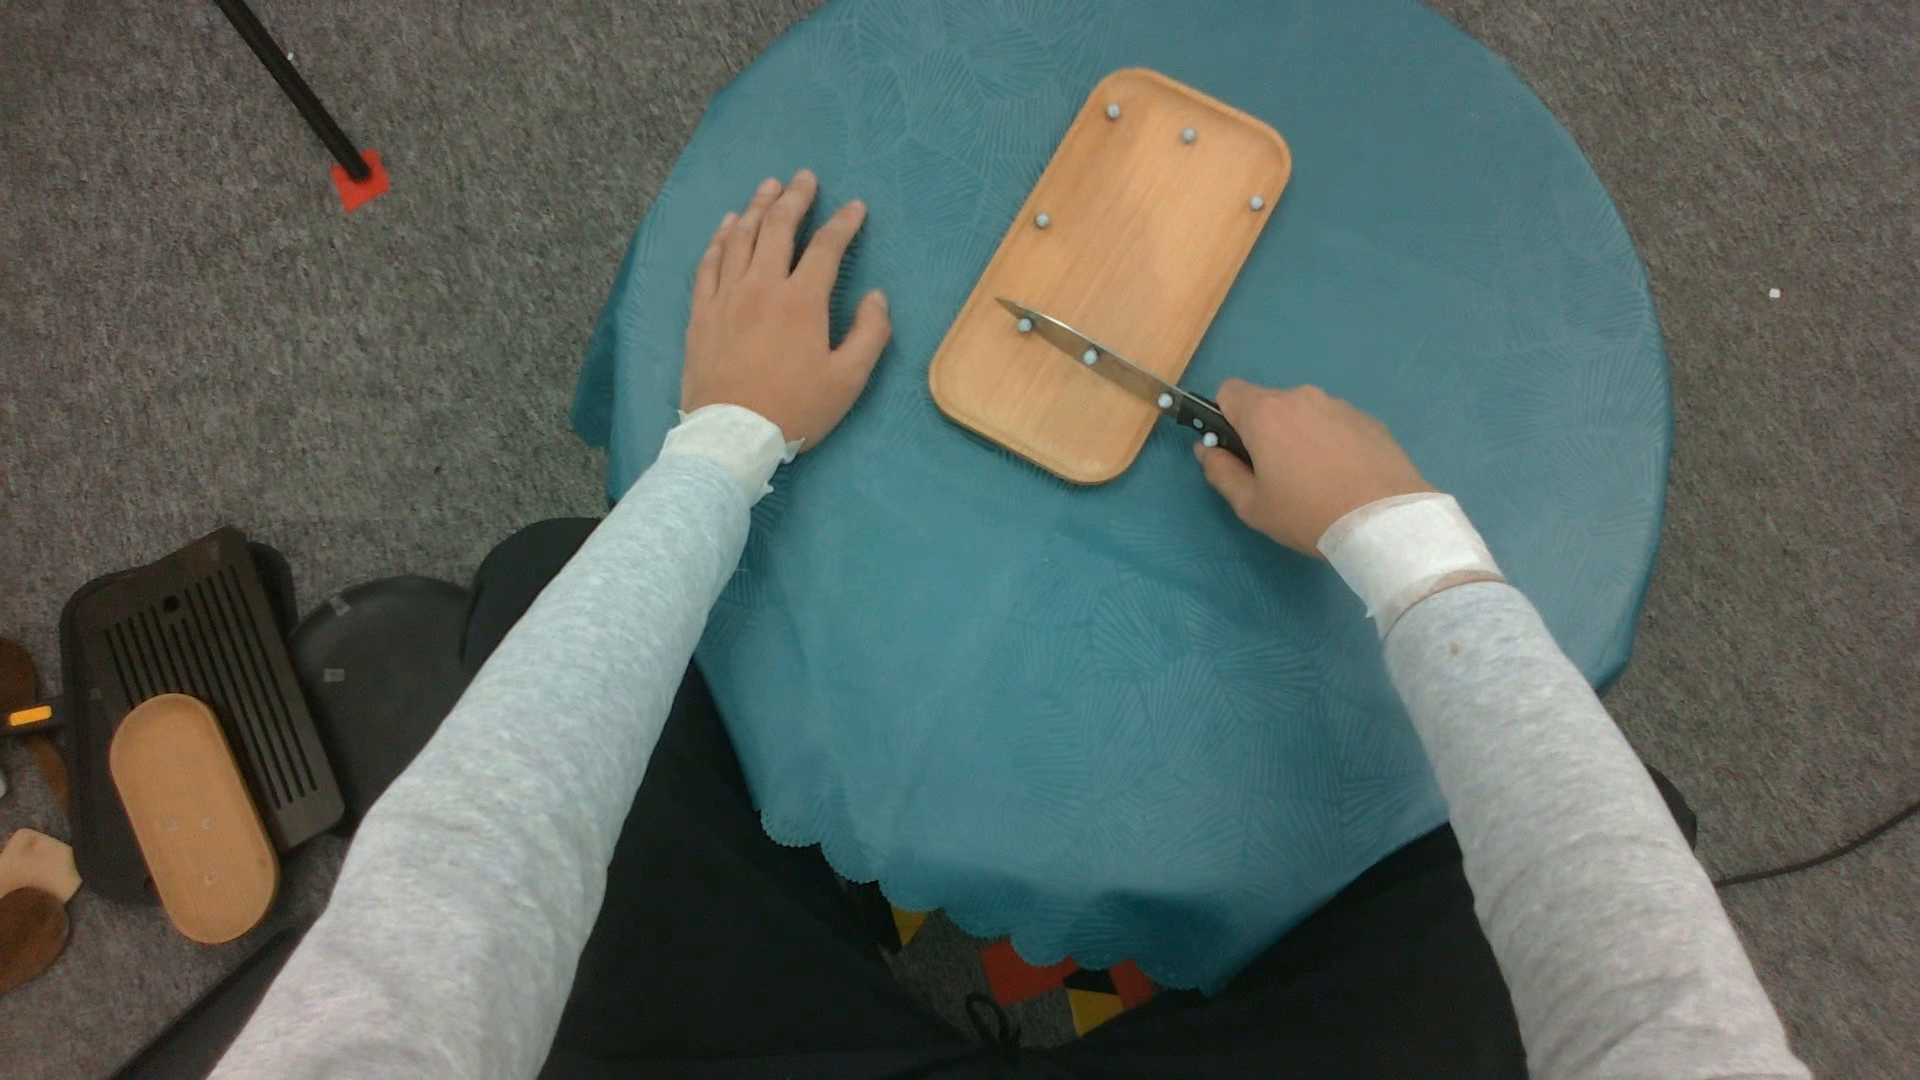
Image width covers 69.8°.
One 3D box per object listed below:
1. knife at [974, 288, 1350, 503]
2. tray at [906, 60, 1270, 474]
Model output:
[{"bbox_3d":[0.105,-0.085,0.748,0.238,0.024,0.016,31,61,17],"label":"knife"},{"bbox_3d":[0.076,-0.160,0.790,0.130,0.023,0.251,28,76,10],"label":"tray"}]
